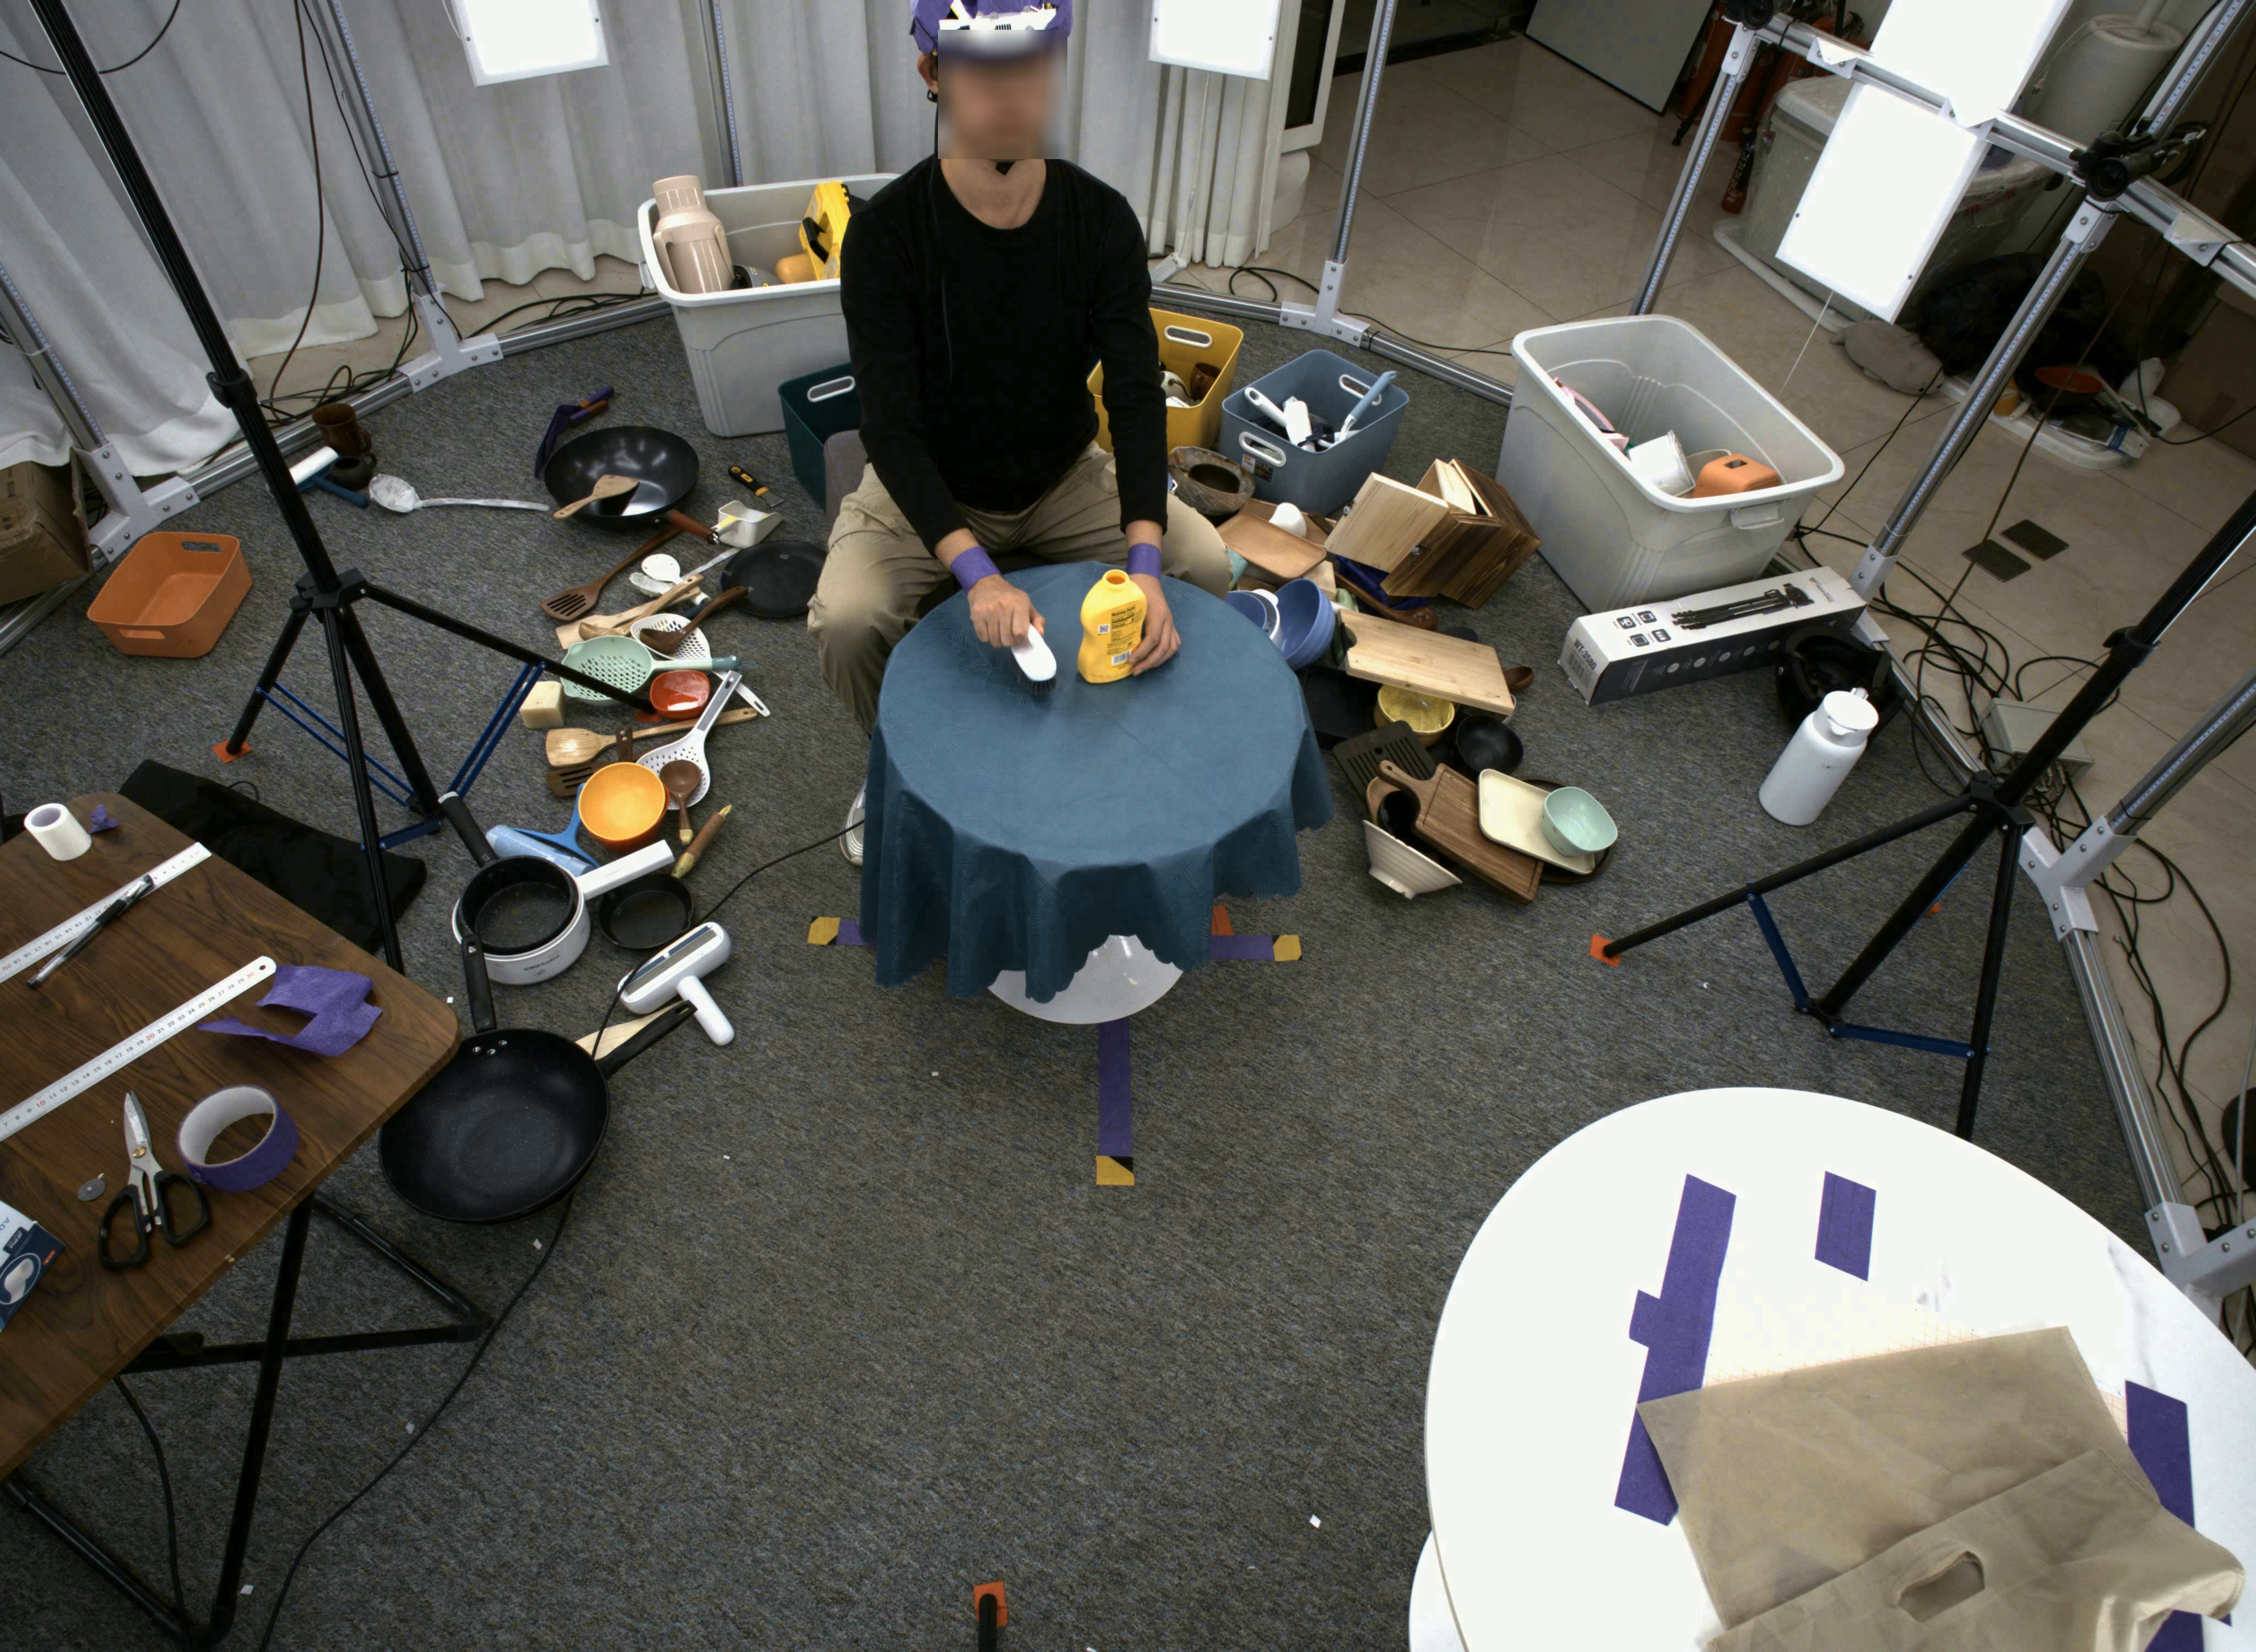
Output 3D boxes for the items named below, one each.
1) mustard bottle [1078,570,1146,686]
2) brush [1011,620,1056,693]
[{"bbox_3d":[-0.022,-0.280,1.799,0.098,0.168,0.060,-24,52,-21],"label":"mustard bottle"},{"bbox_3d":[-0.133,-0.243,1.789,0.050,0.071,0.101,-14,51,-16],"label":"brush"}]
